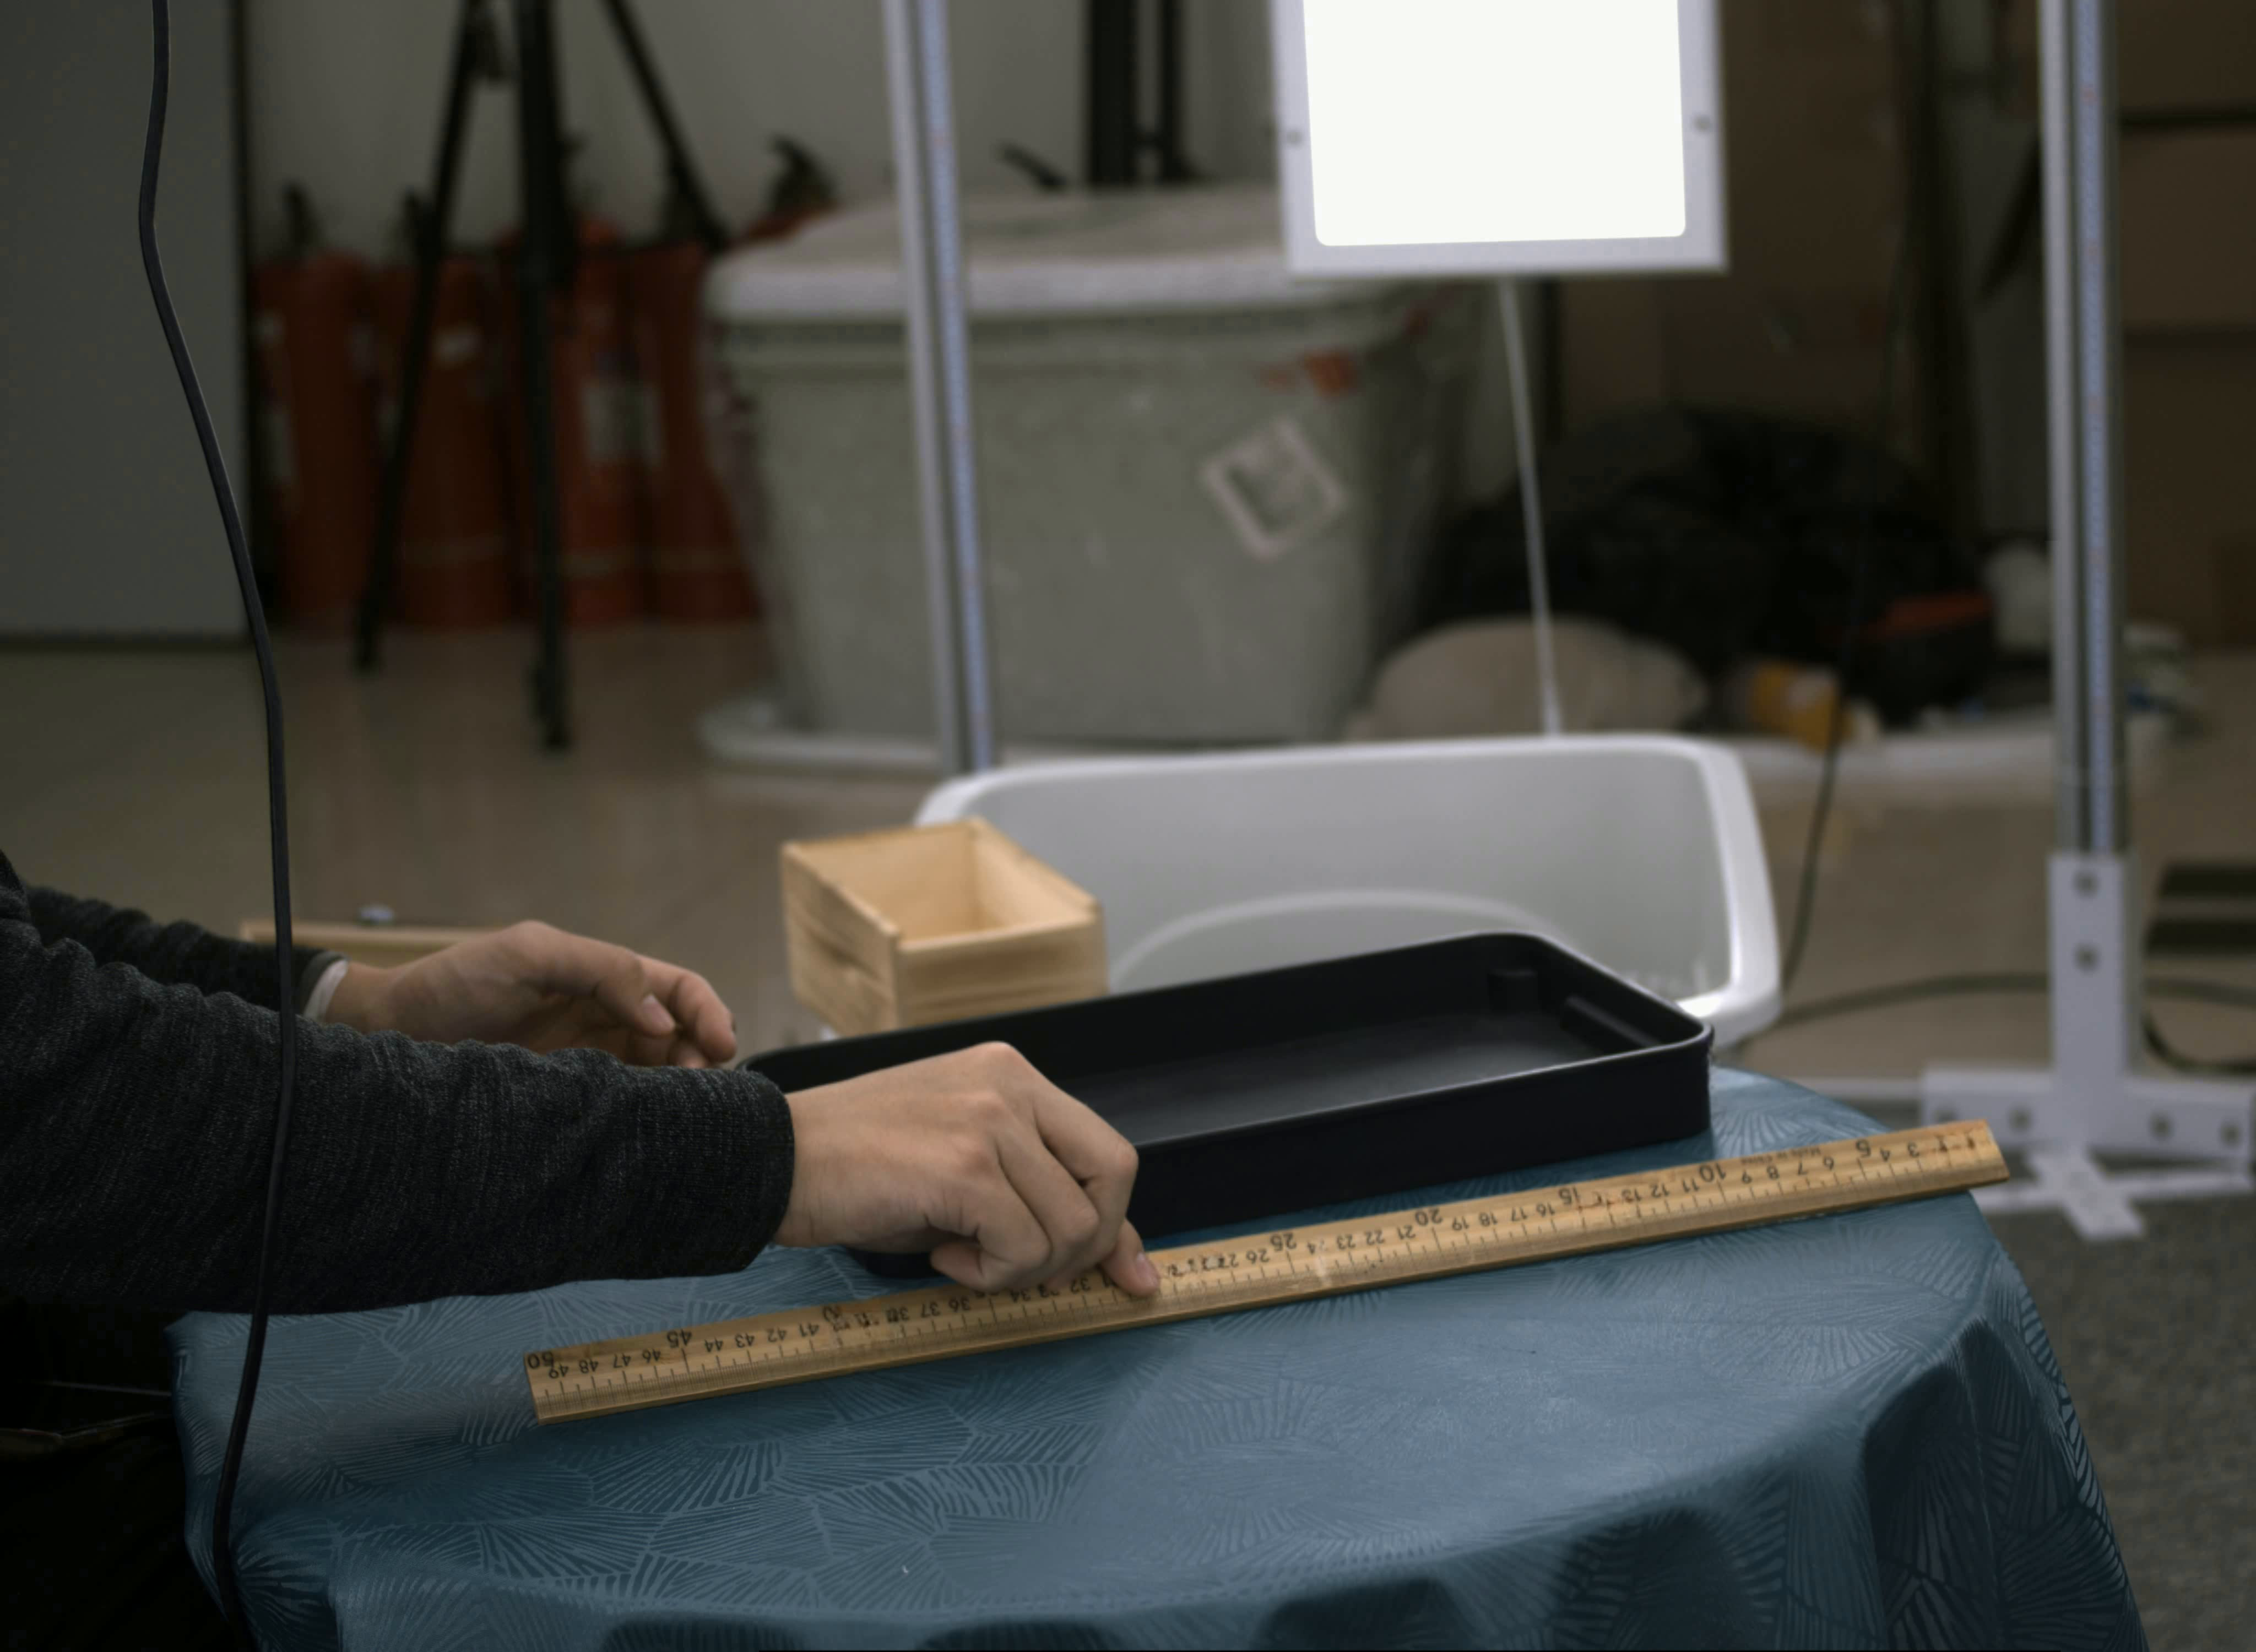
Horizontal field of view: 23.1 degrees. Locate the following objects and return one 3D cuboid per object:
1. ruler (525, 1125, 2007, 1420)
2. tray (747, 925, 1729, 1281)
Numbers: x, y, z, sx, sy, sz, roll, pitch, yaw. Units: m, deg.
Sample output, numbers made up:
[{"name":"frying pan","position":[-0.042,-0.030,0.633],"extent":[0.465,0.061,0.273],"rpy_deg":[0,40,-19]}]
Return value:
[{"name":"ruler","position":[0.052,0.141,1.774],"extent":[0.494,0.006,0.027],"rpy_deg":[-8,59,-12]},{"name":"tray","position":[0.039,0.094,1.943],"extent":[0.313,0.037,0.186],"rpy_deg":[-10,14,-17]}]
